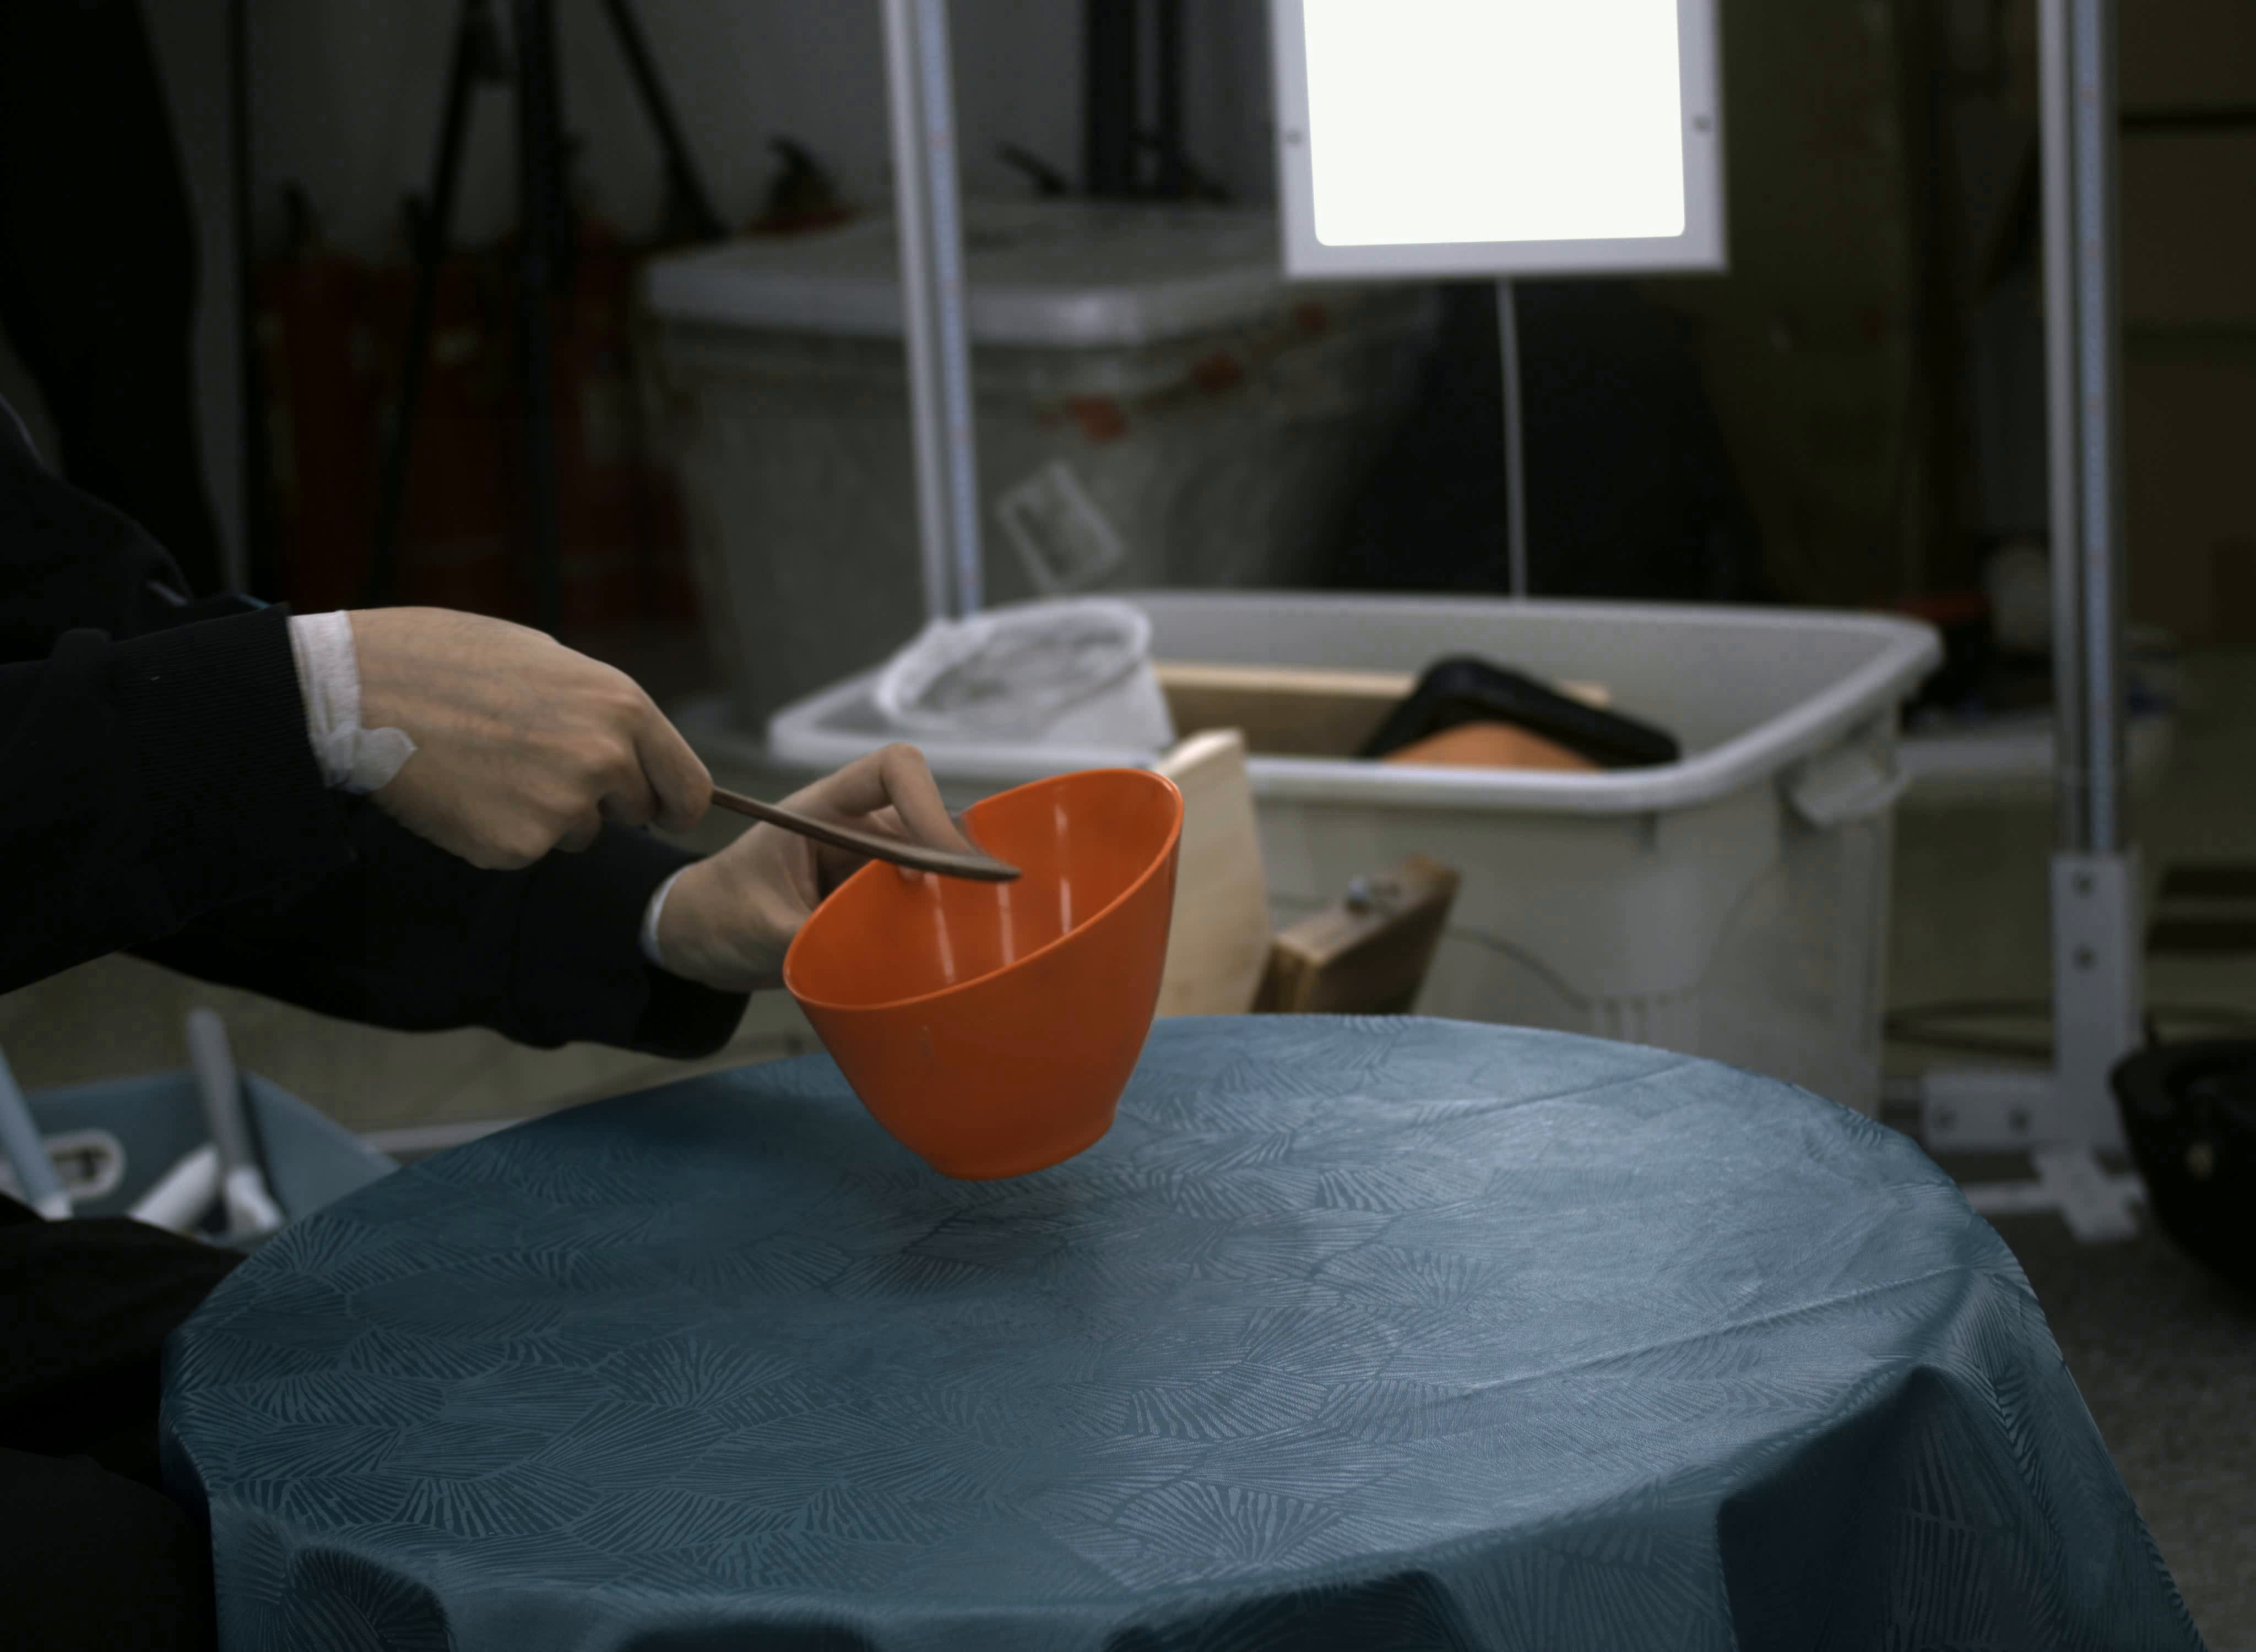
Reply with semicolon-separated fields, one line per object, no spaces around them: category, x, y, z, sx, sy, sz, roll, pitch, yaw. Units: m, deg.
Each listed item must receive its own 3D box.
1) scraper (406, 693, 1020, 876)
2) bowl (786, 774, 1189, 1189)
scraper;-0.139;-0.013;1.836;0.210;0.011;0.076;16;1;-5
bowl;-0.037;0.059;1.879;0.148;0.105;0.148;-15;21;4
